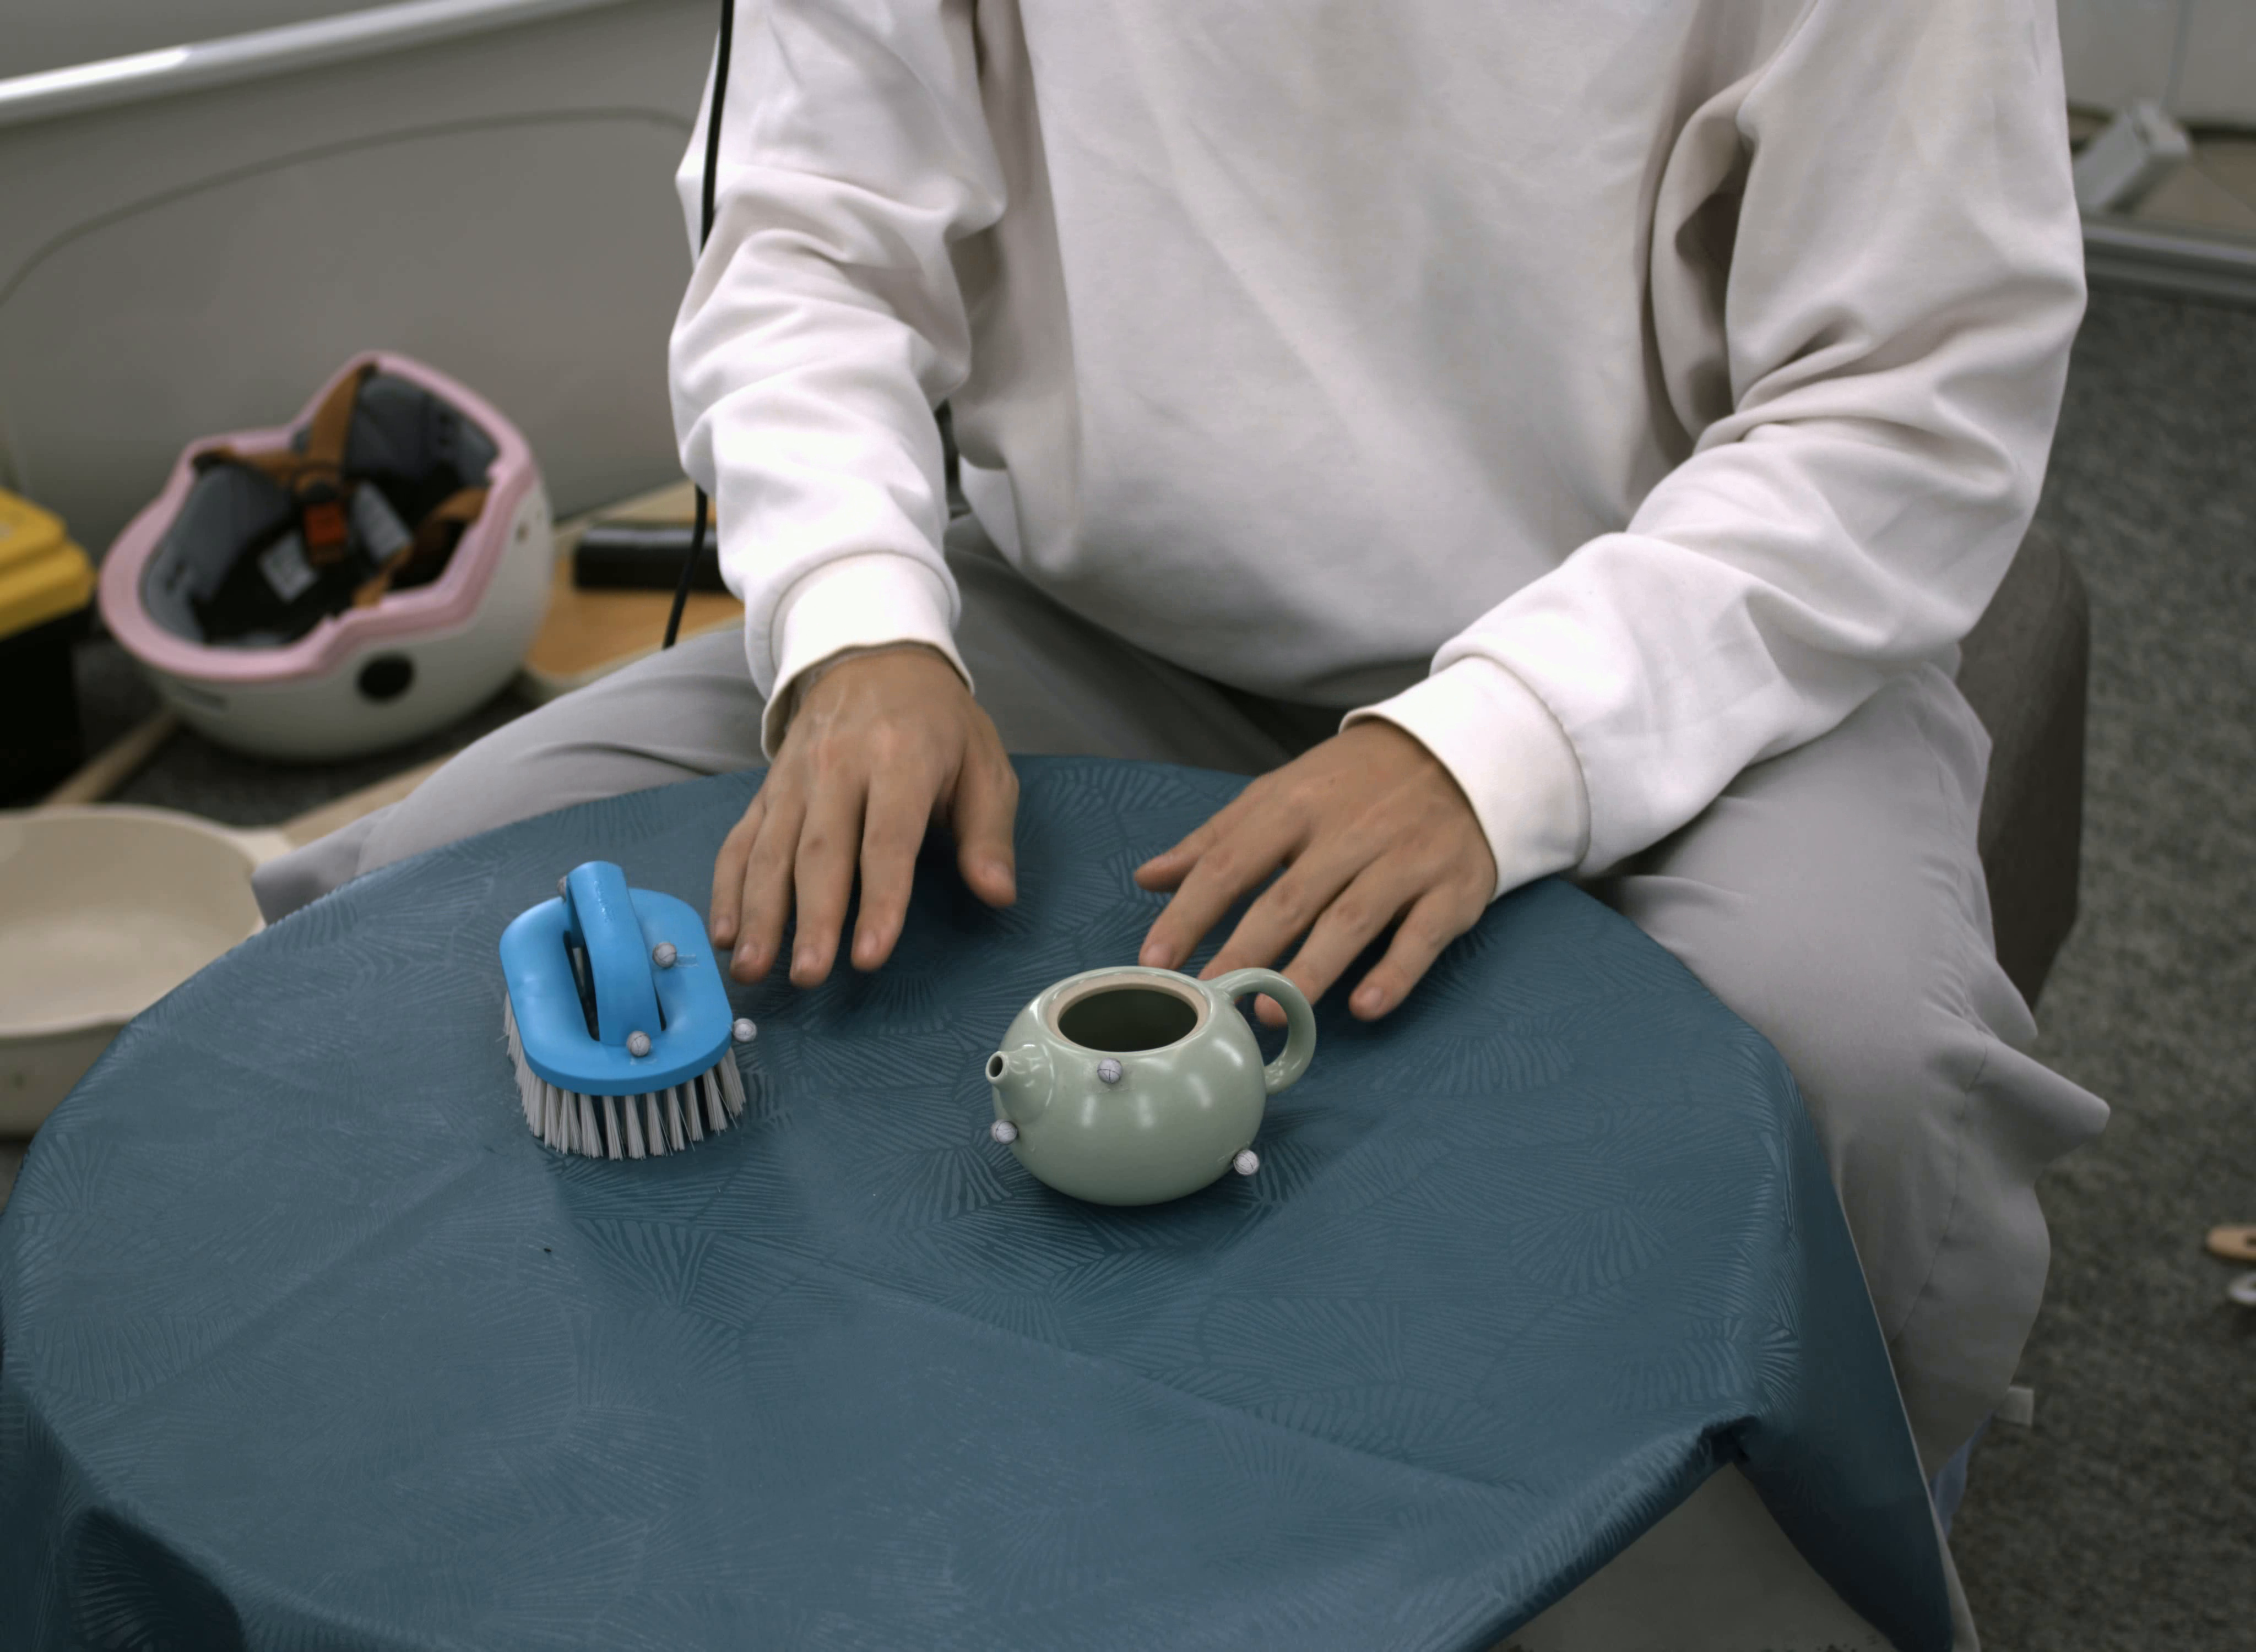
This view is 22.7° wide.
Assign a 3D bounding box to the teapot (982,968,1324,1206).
[{"bbox_3d":[0.009,0.085,1.871,0.129,0.060,0.092,-14,26,-26],"label":"teapot"}]

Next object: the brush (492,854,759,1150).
[{"bbox_3d":[-0.178,0.052,1.944,0.084,0.063,0.143,-11,27,-6],"label":"brush"}]
